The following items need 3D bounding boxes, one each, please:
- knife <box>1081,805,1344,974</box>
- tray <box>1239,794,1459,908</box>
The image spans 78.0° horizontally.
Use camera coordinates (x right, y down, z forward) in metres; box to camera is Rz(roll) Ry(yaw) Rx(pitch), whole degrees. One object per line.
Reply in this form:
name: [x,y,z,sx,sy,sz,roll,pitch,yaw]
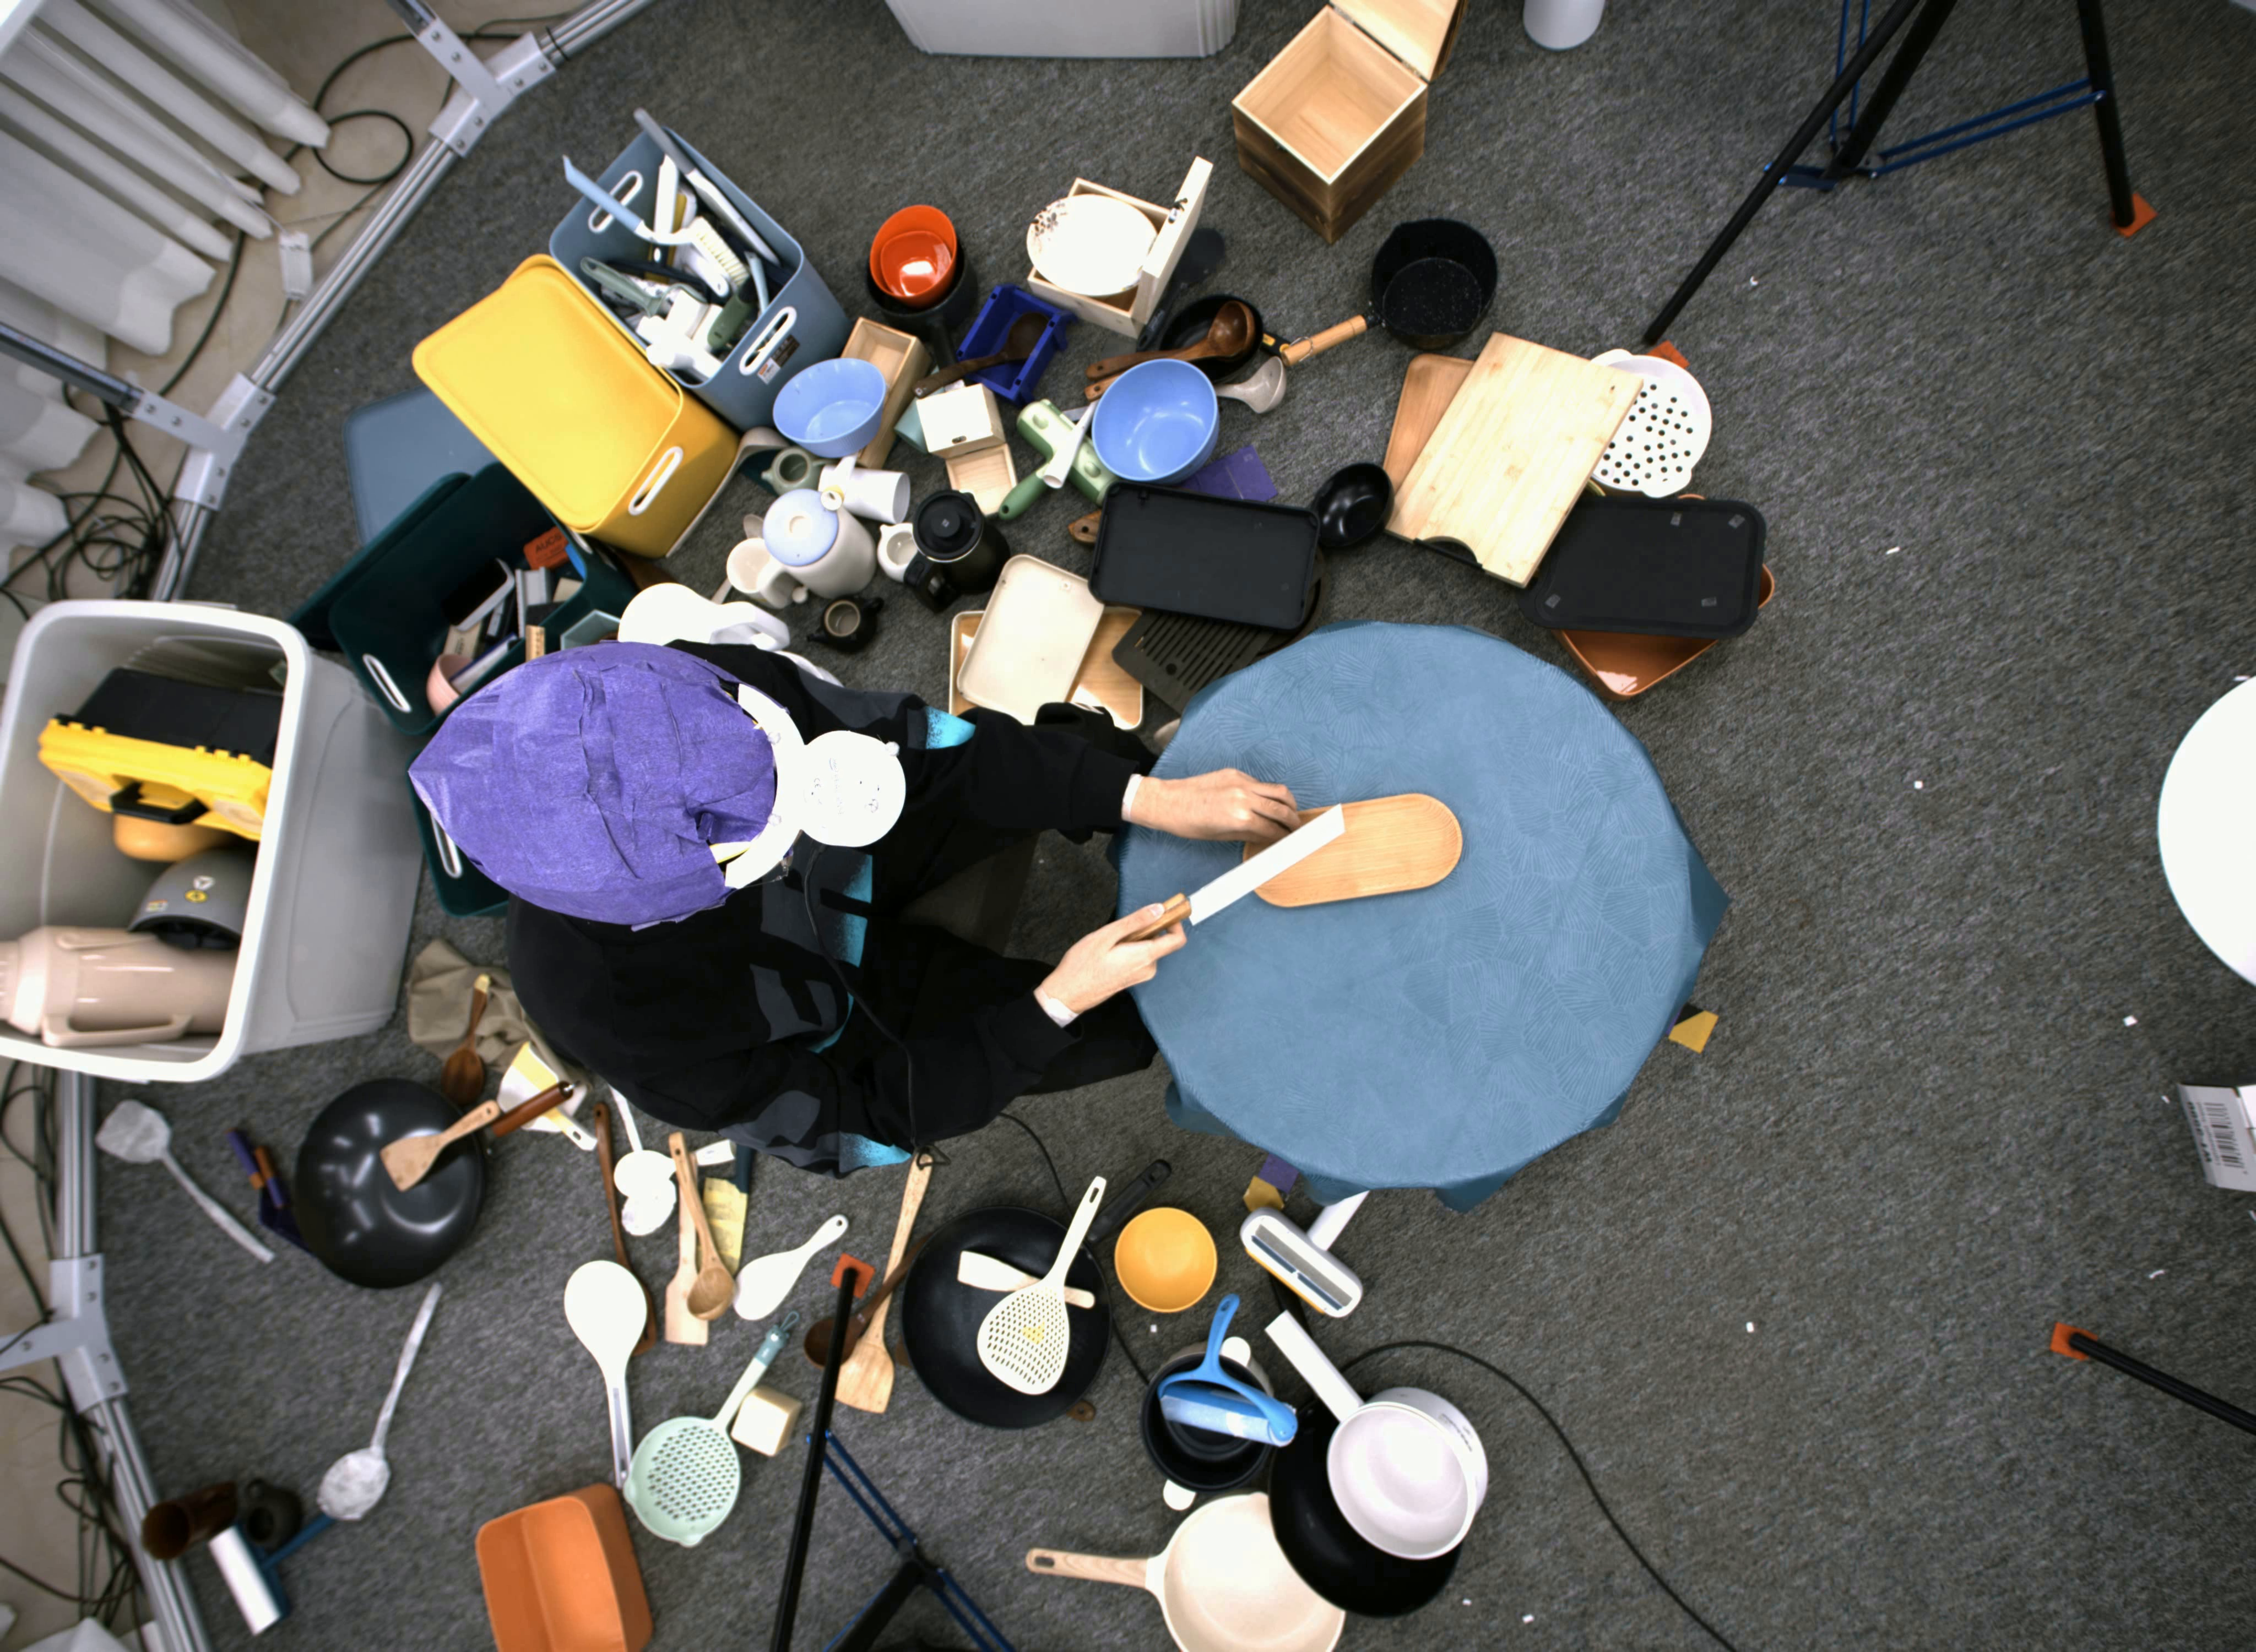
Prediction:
knife: [0.091,0.069,1.424,0.306,0.094,0.021,-32,68,2]
tray: [0.232,0.026,1.461,0.232,0.020,0.101,-9,83,11]
